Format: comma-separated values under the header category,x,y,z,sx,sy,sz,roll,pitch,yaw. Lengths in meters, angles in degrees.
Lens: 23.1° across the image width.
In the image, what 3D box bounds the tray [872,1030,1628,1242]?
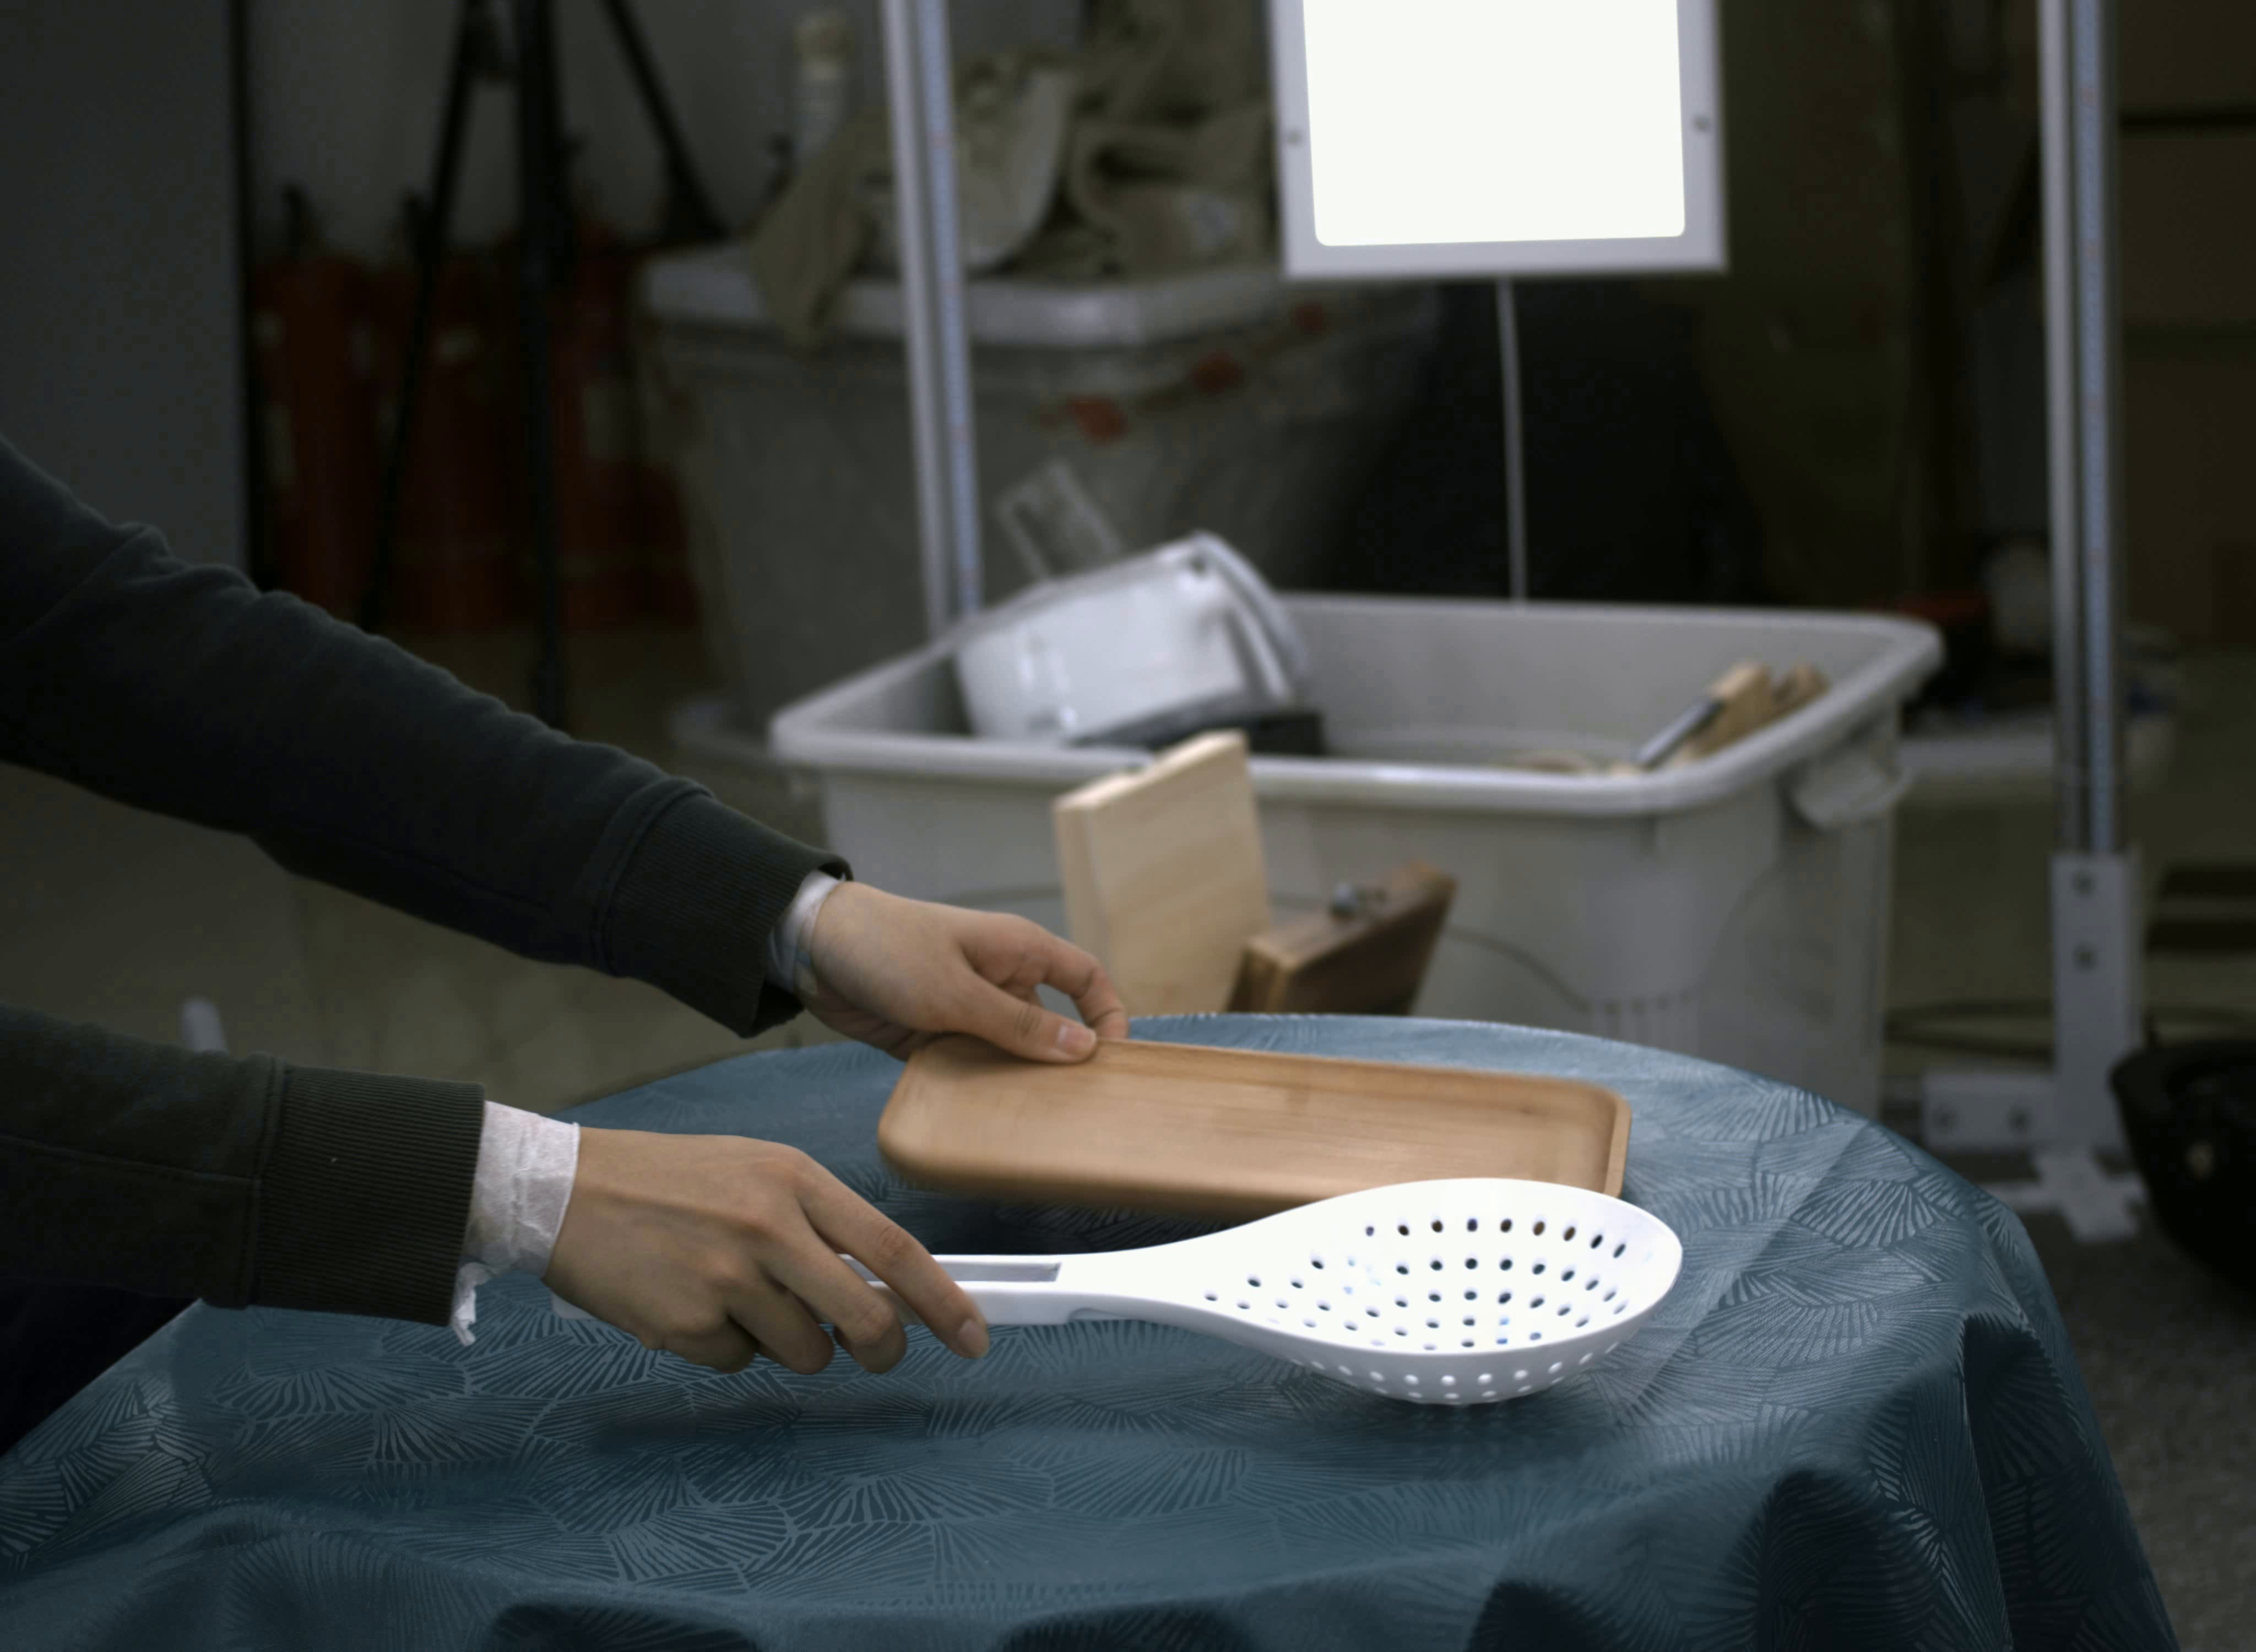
category,x,y,z,sx,sy,sz,roll,pitch,yaw
tray,0.043,0.106,1.863,0.252,0.023,0.129,1,21,10

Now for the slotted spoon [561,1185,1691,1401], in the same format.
category,x,y,z,sx,sy,sz,roll,pitch,yaw
slotted spoon,-0.003,0.141,1.691,0.351,0.046,0.134,3,17,9
